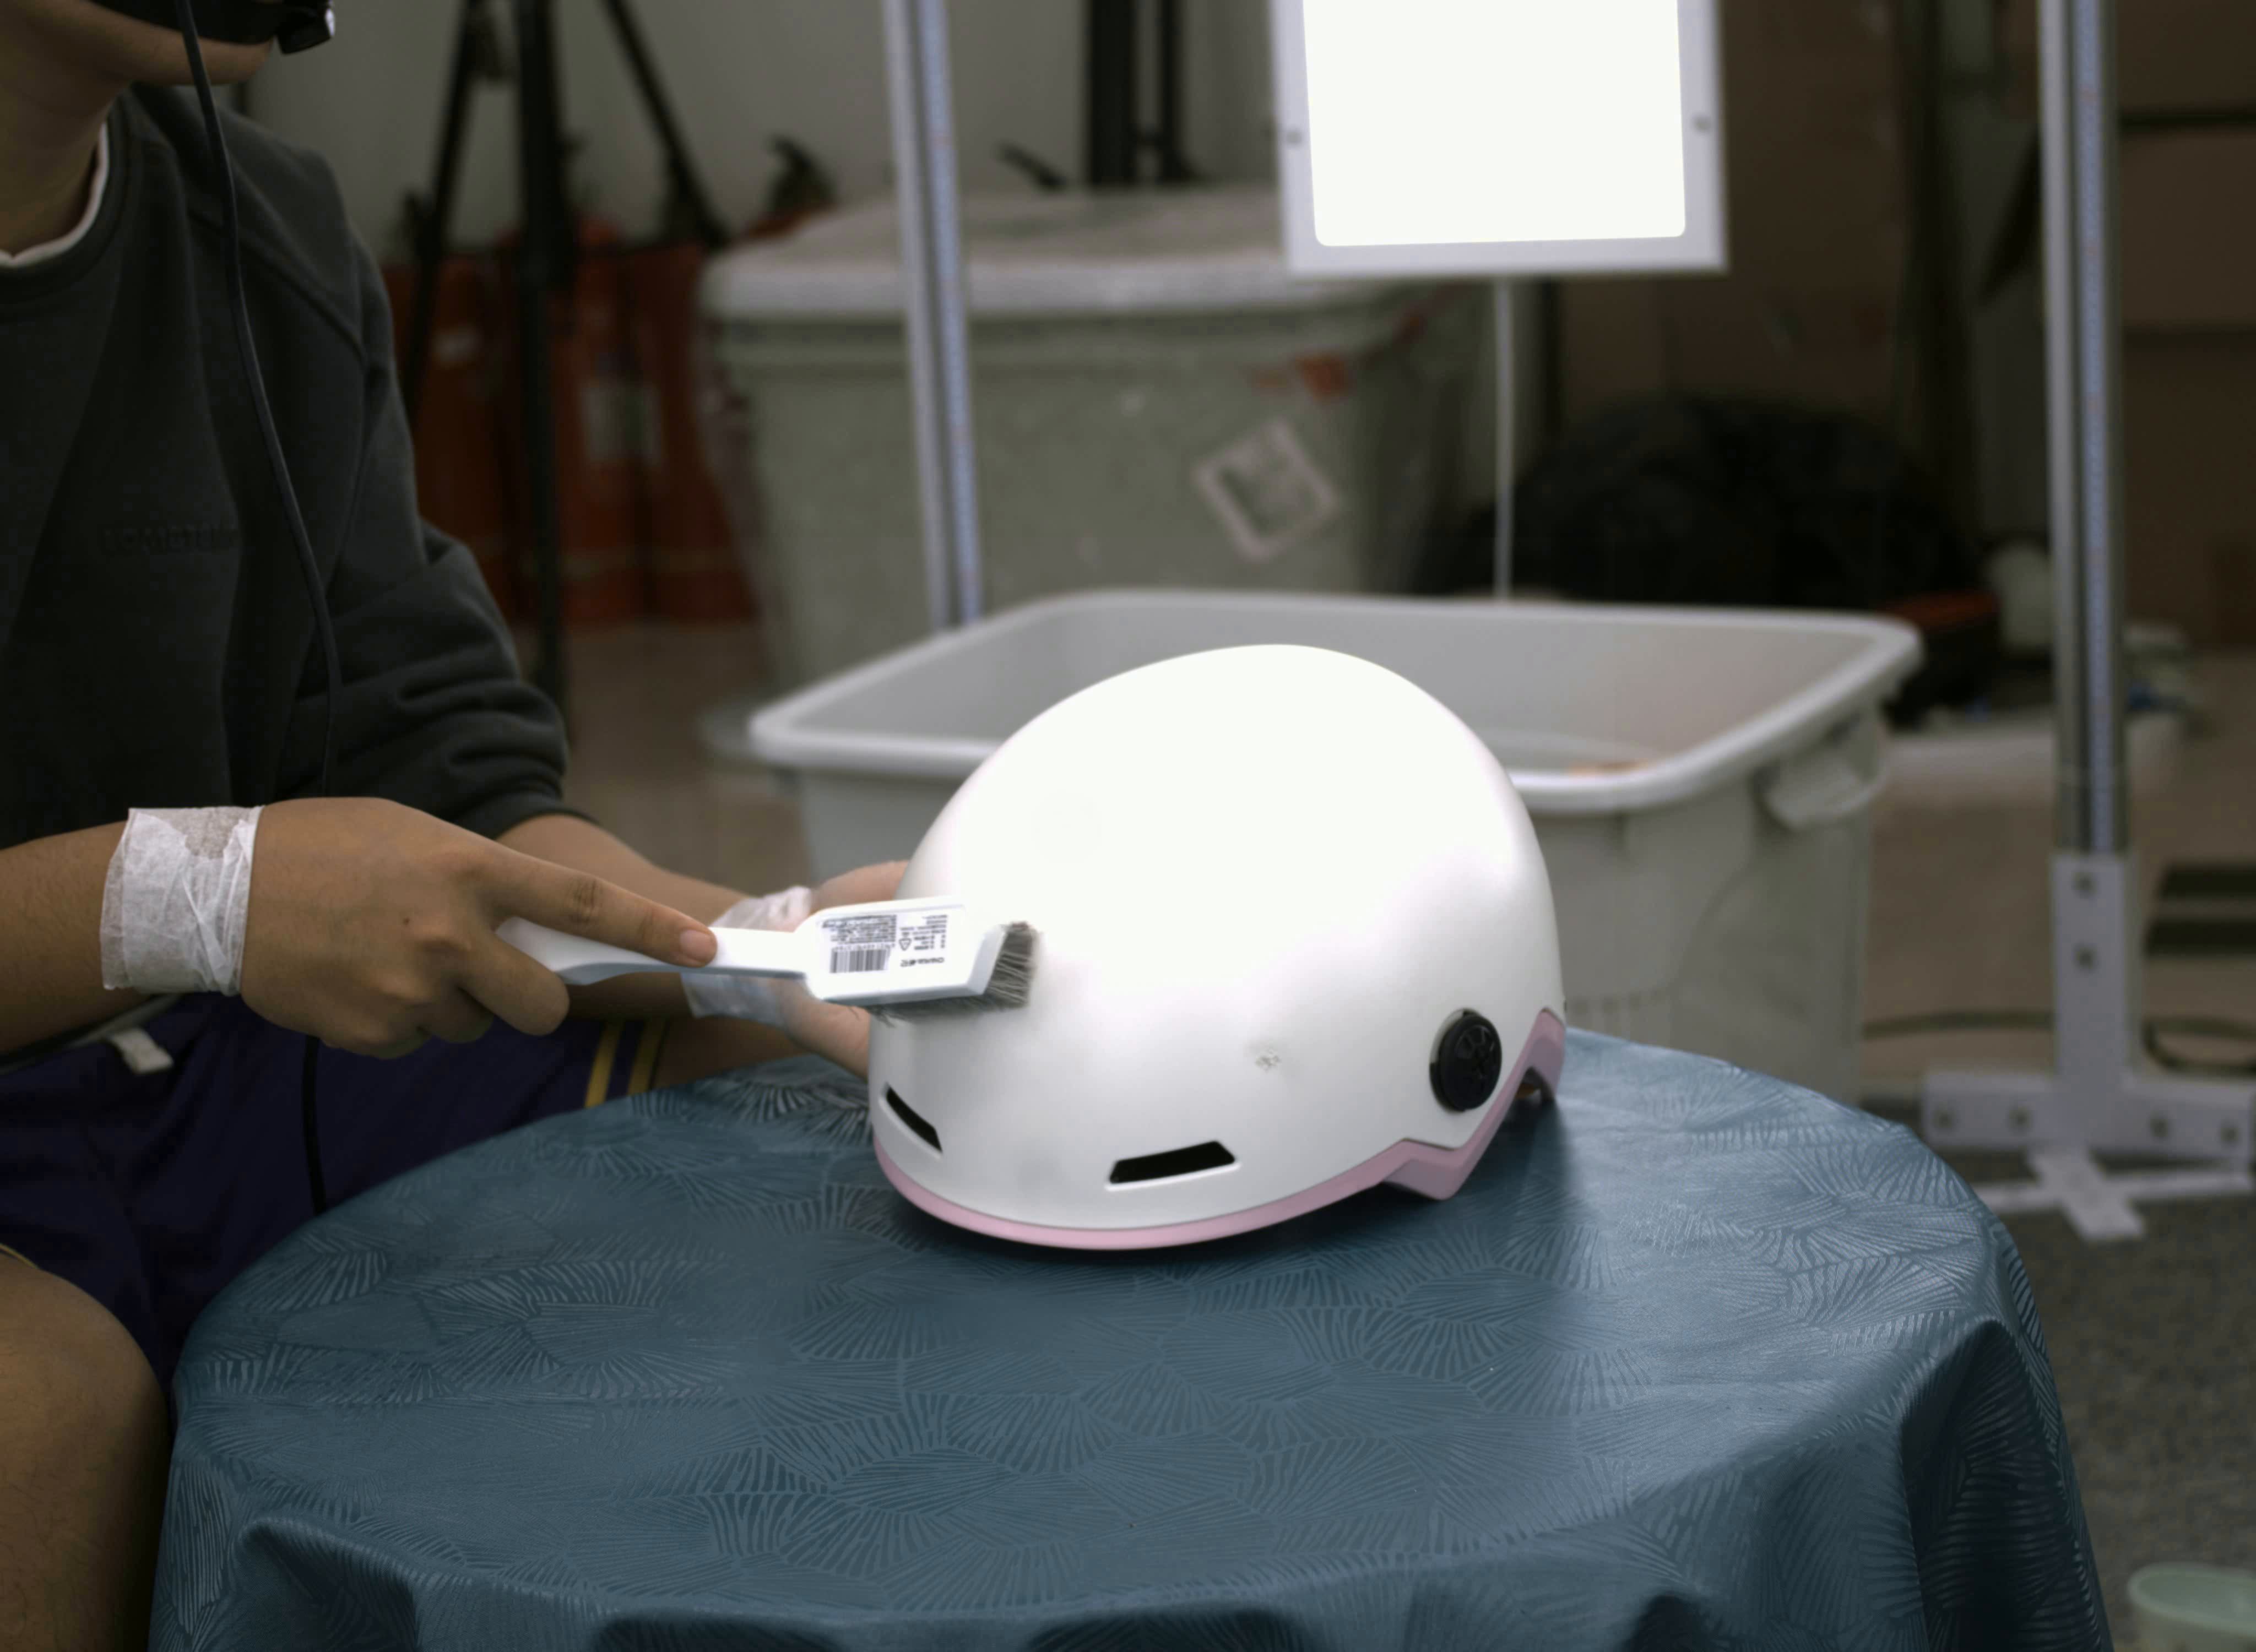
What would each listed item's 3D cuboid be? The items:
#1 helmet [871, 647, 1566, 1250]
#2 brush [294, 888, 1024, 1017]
[{"bbox_3d":[0.032,0.030,1.912,0.241,0.168,0.262,9,19,33],"label":"helmet"},{"bbox_3d":[-0.155,0.045,1.833,0.245,0.034,0.050,-2,-17,12],"label":"brush"}]
